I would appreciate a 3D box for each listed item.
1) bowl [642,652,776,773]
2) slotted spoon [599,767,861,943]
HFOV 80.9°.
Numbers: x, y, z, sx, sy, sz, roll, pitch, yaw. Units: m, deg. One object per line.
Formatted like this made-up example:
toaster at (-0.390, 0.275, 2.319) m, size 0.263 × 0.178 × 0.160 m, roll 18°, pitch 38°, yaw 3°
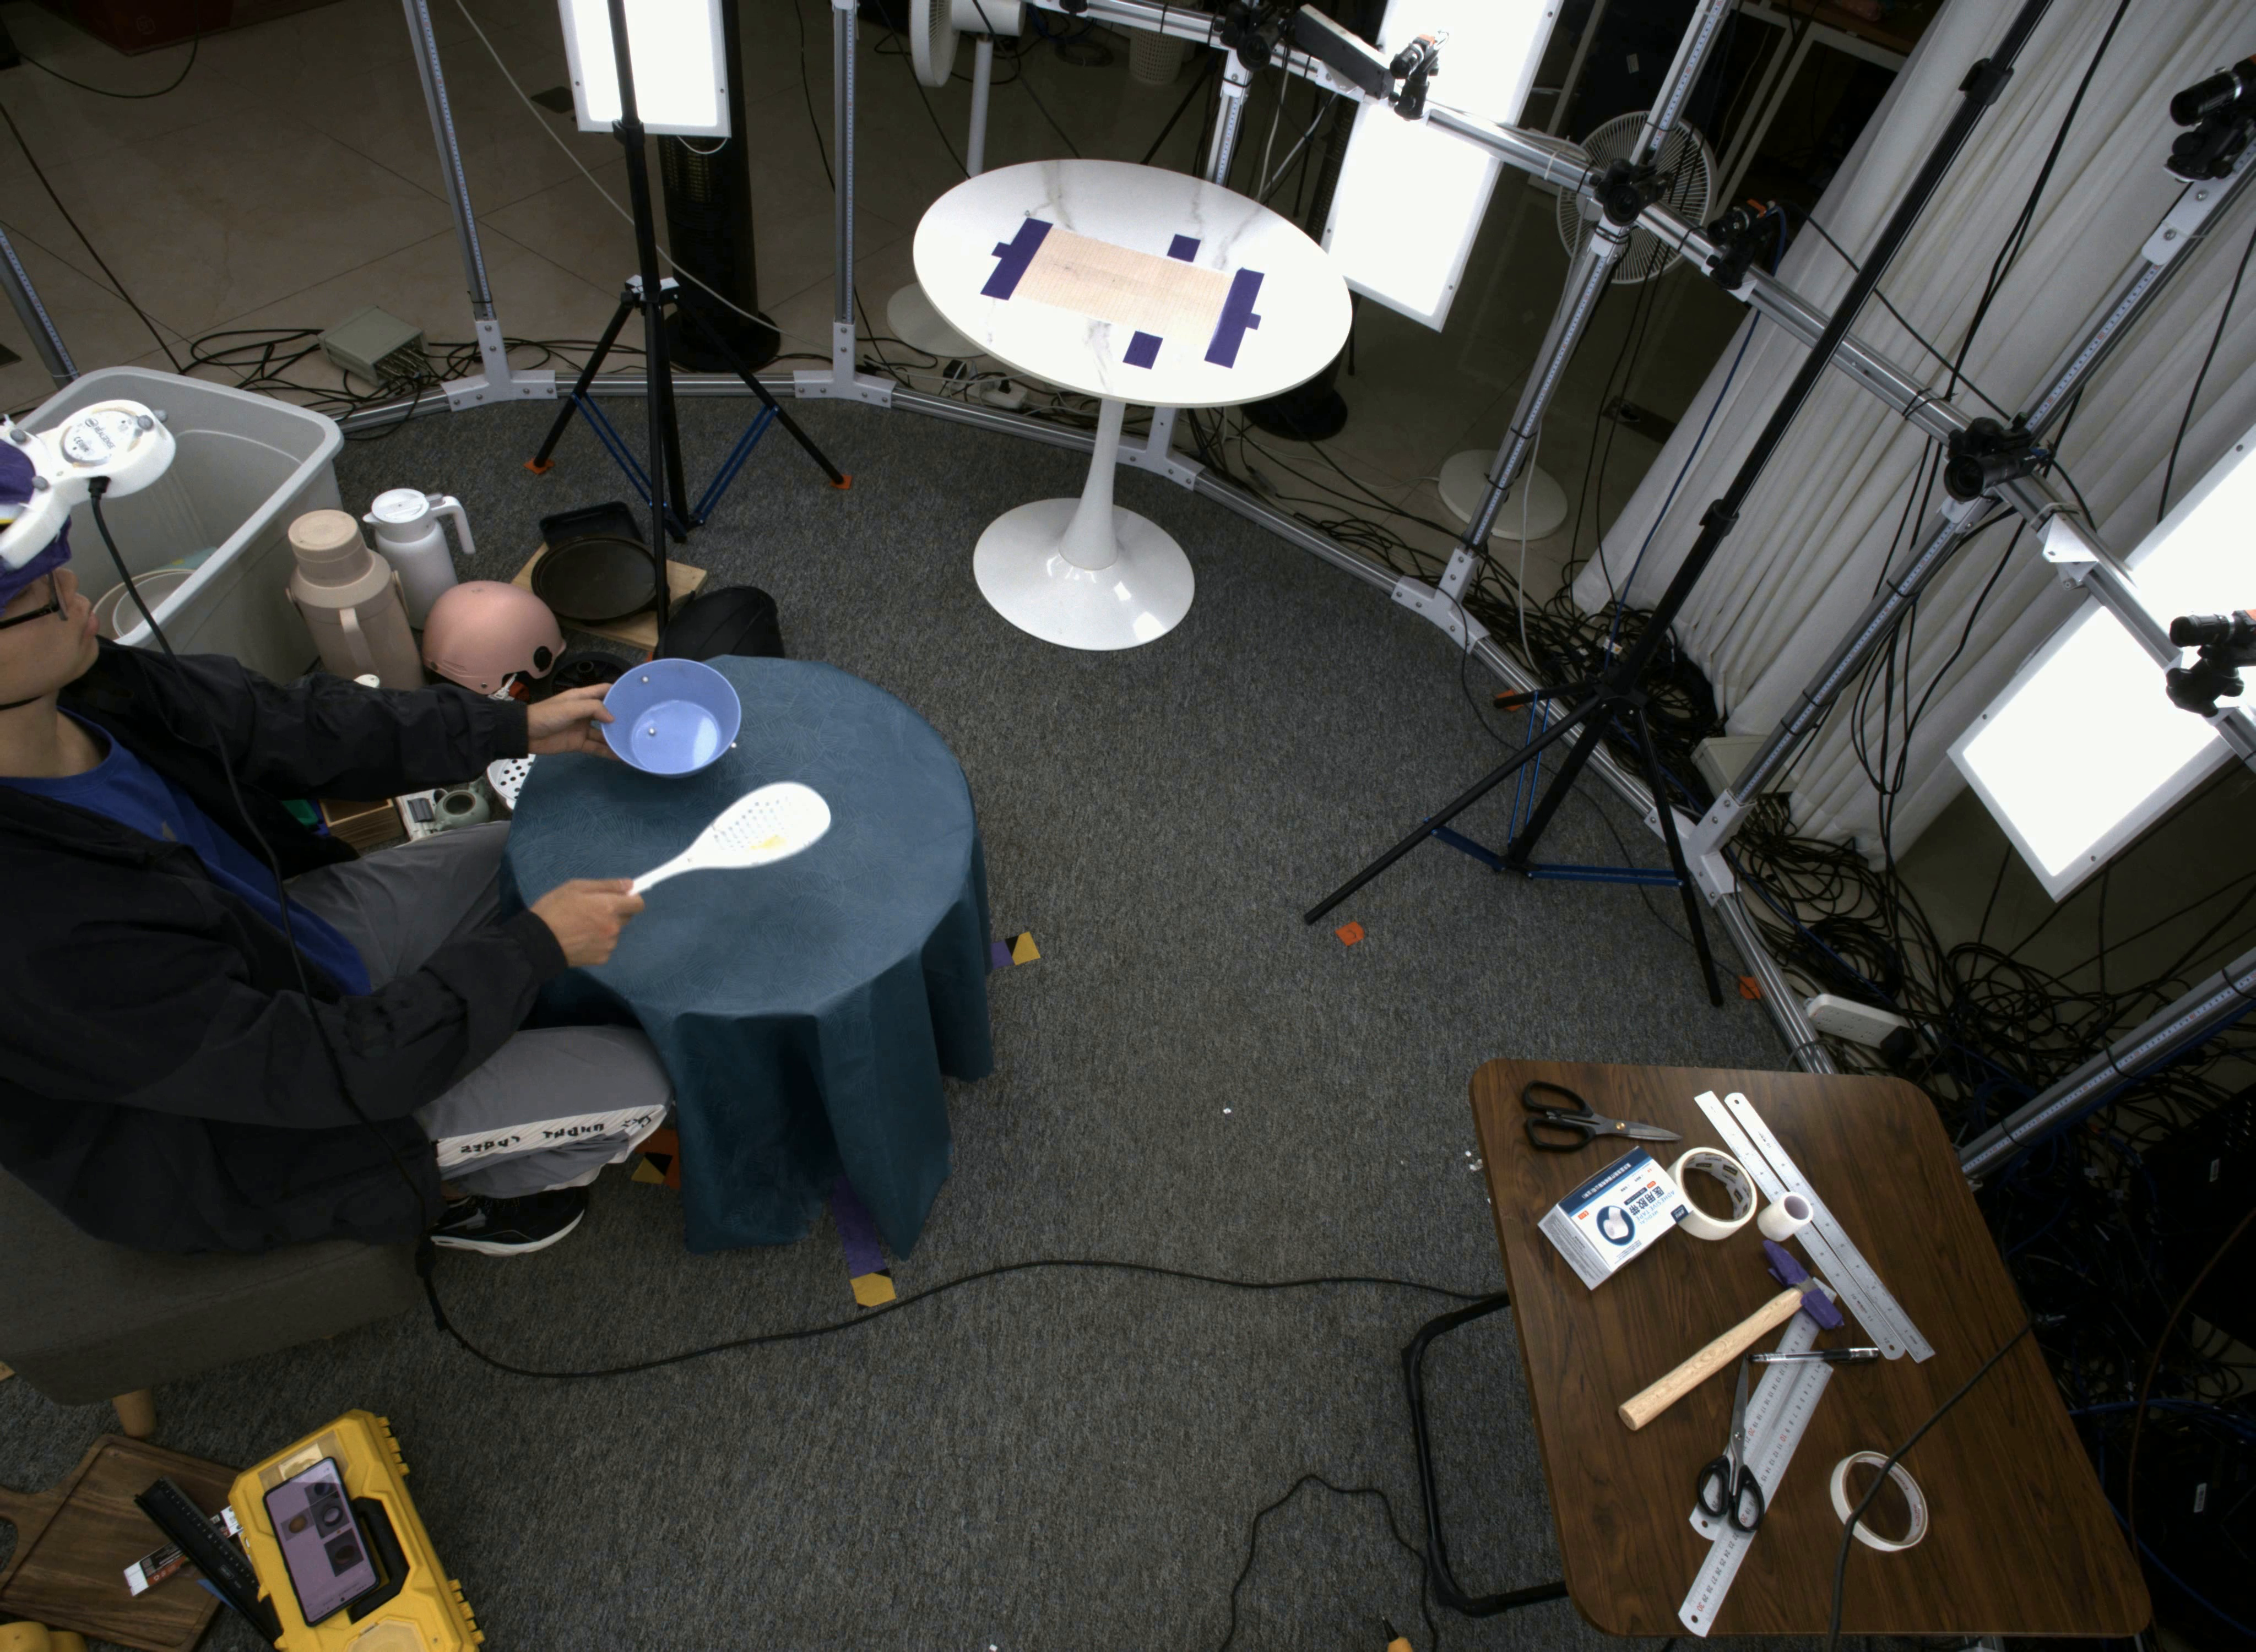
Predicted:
bowl at (-0.554, -0.139, 1.714) m, size 0.176 × 0.071 × 0.174 m, roll 6°, pitch 64°, yaw -10°
slotted spoon at (-0.477, 0.034, 1.531) m, size 0.349 × 0.052 × 0.132 m, roll -27°, pitch 48°, yaw -26°
